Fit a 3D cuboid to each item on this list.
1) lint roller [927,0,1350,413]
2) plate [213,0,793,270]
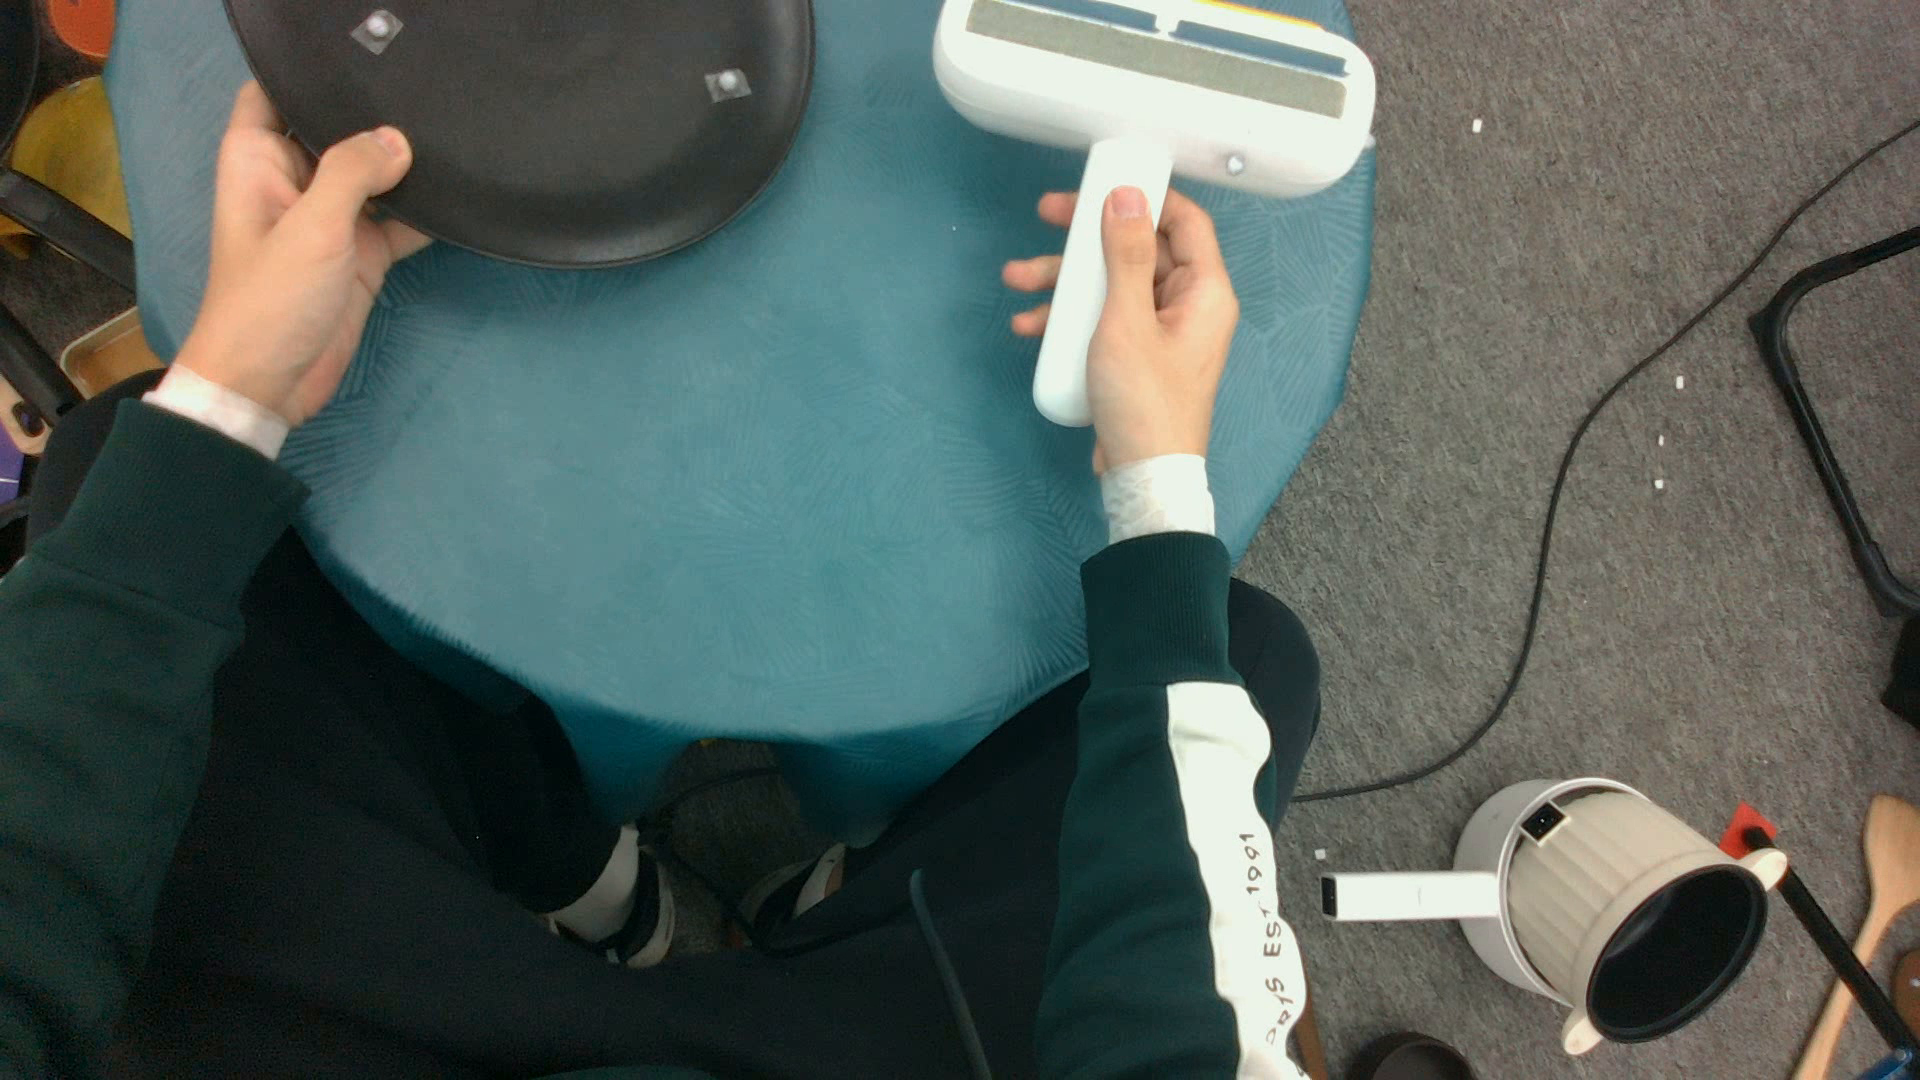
[{"bbox_3d":[0.062,-0.151,0.638,0.193,0.074,0.192,18,95,0],"label":"lint roller"},{"bbox_3d":[-0.188,-0.234,0.592,0.245,0.023,0.244,3,84,-30],"label":"plate"}]
